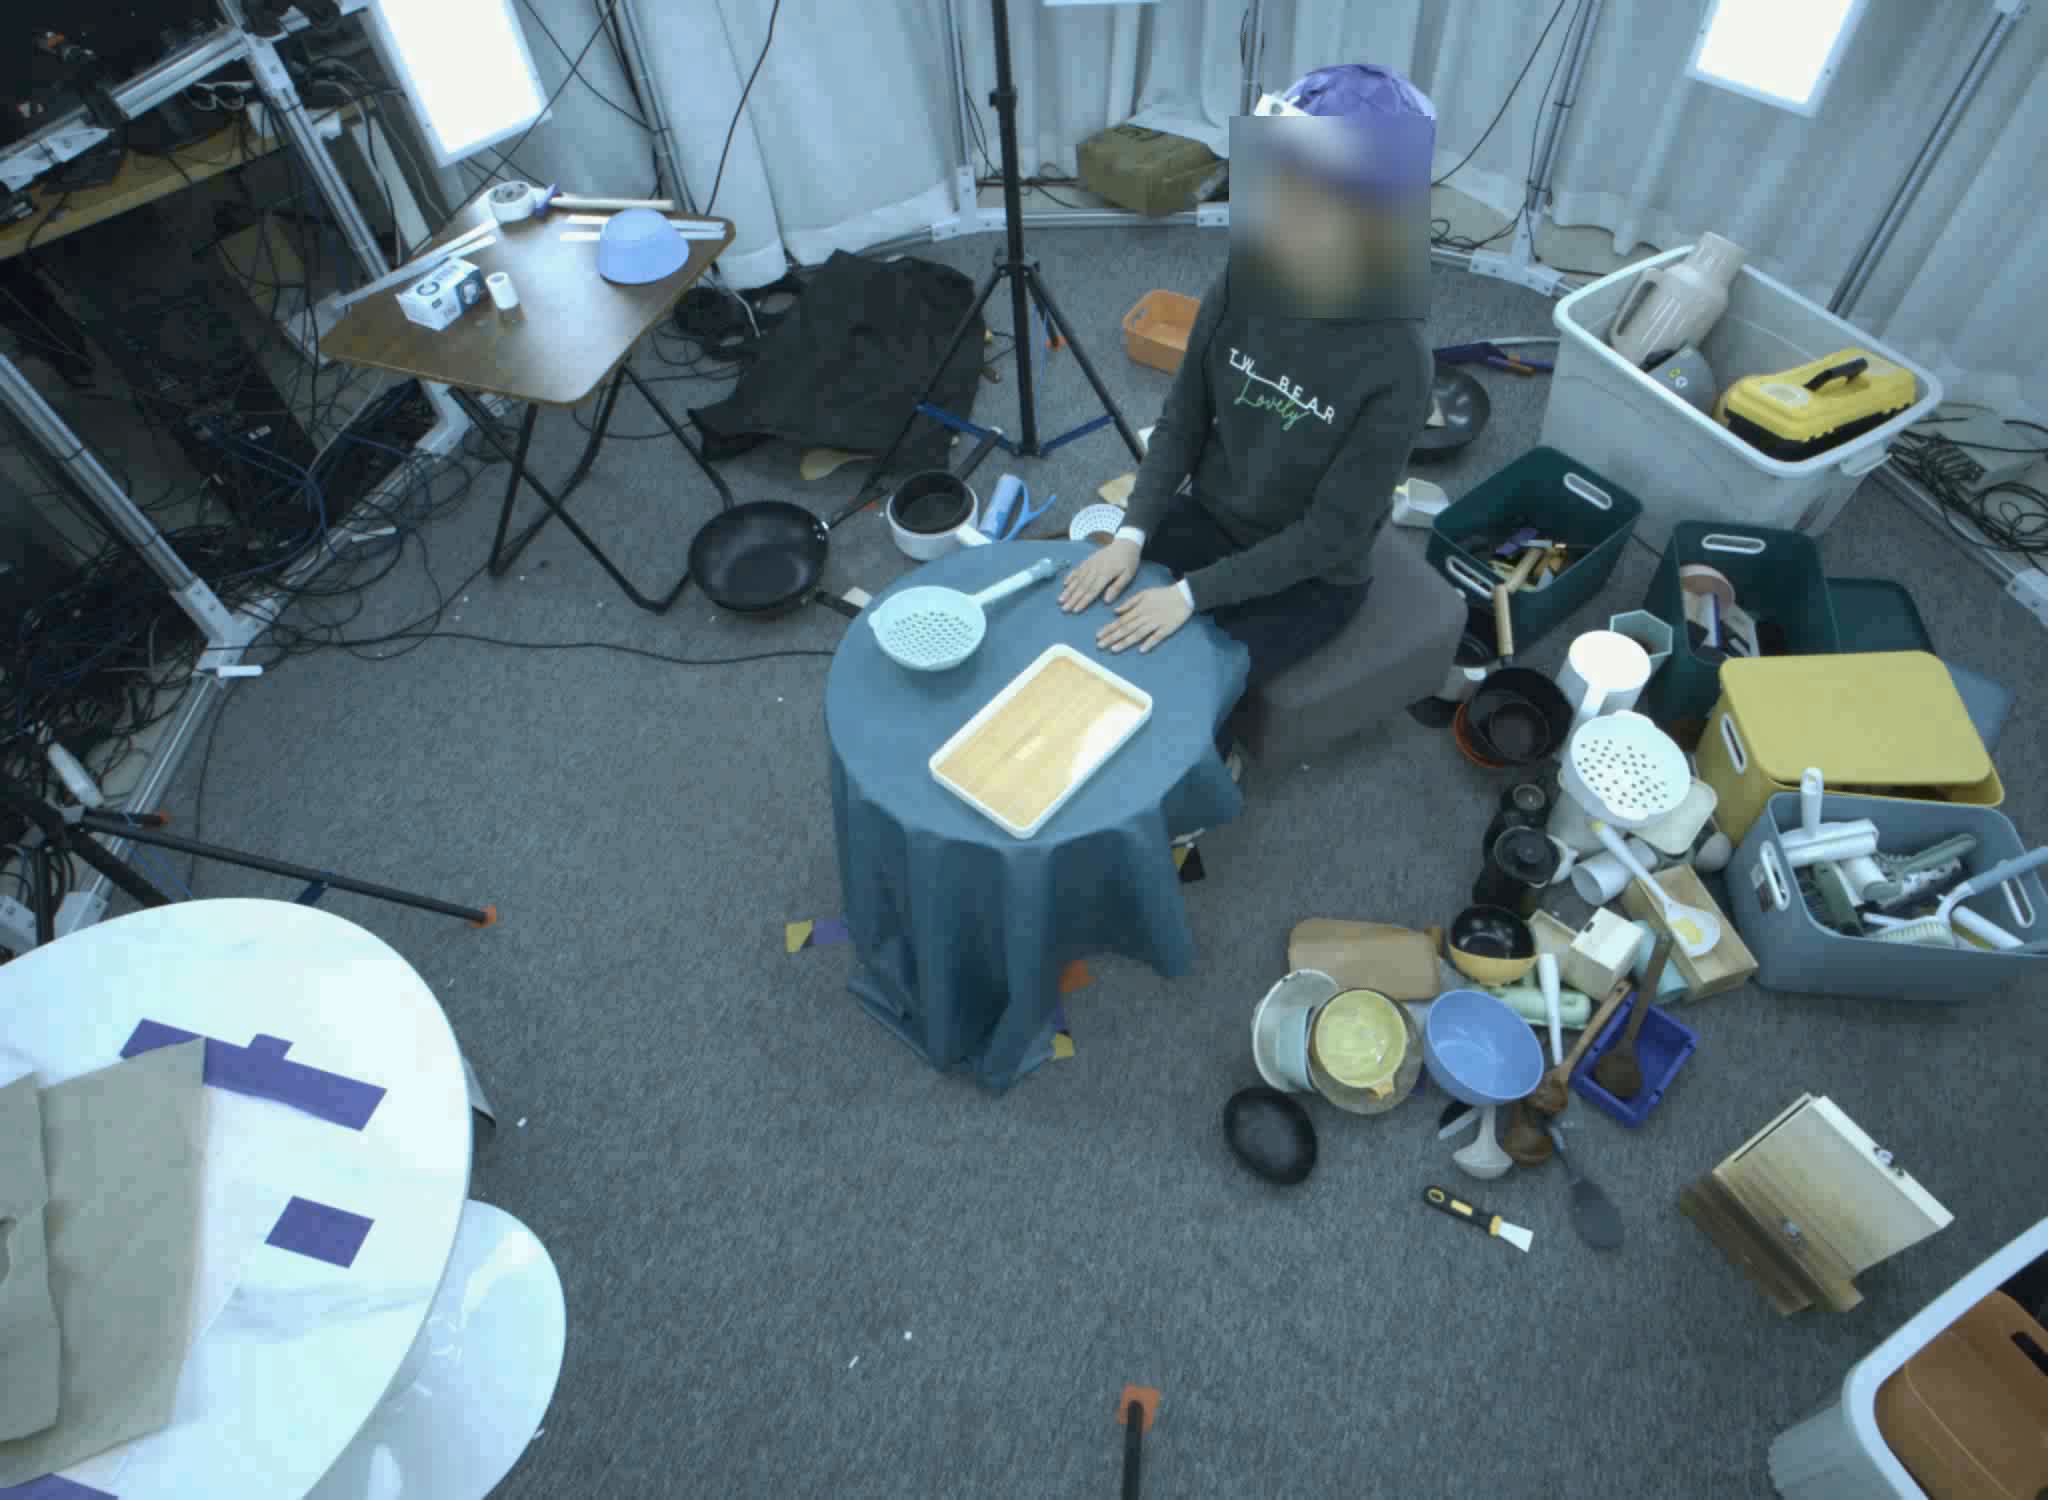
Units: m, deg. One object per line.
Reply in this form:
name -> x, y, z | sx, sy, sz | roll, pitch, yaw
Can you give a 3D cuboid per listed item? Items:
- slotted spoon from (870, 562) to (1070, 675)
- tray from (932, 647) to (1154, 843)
slotted spoon -> -0.068, -0.225, 1.918 | 0.361, 0.076, 0.166 | -36, 62, -21
tray -> 0.030, -0.013, 1.790 | 0.188, 0.028, 0.302 | 34, 63, 23
